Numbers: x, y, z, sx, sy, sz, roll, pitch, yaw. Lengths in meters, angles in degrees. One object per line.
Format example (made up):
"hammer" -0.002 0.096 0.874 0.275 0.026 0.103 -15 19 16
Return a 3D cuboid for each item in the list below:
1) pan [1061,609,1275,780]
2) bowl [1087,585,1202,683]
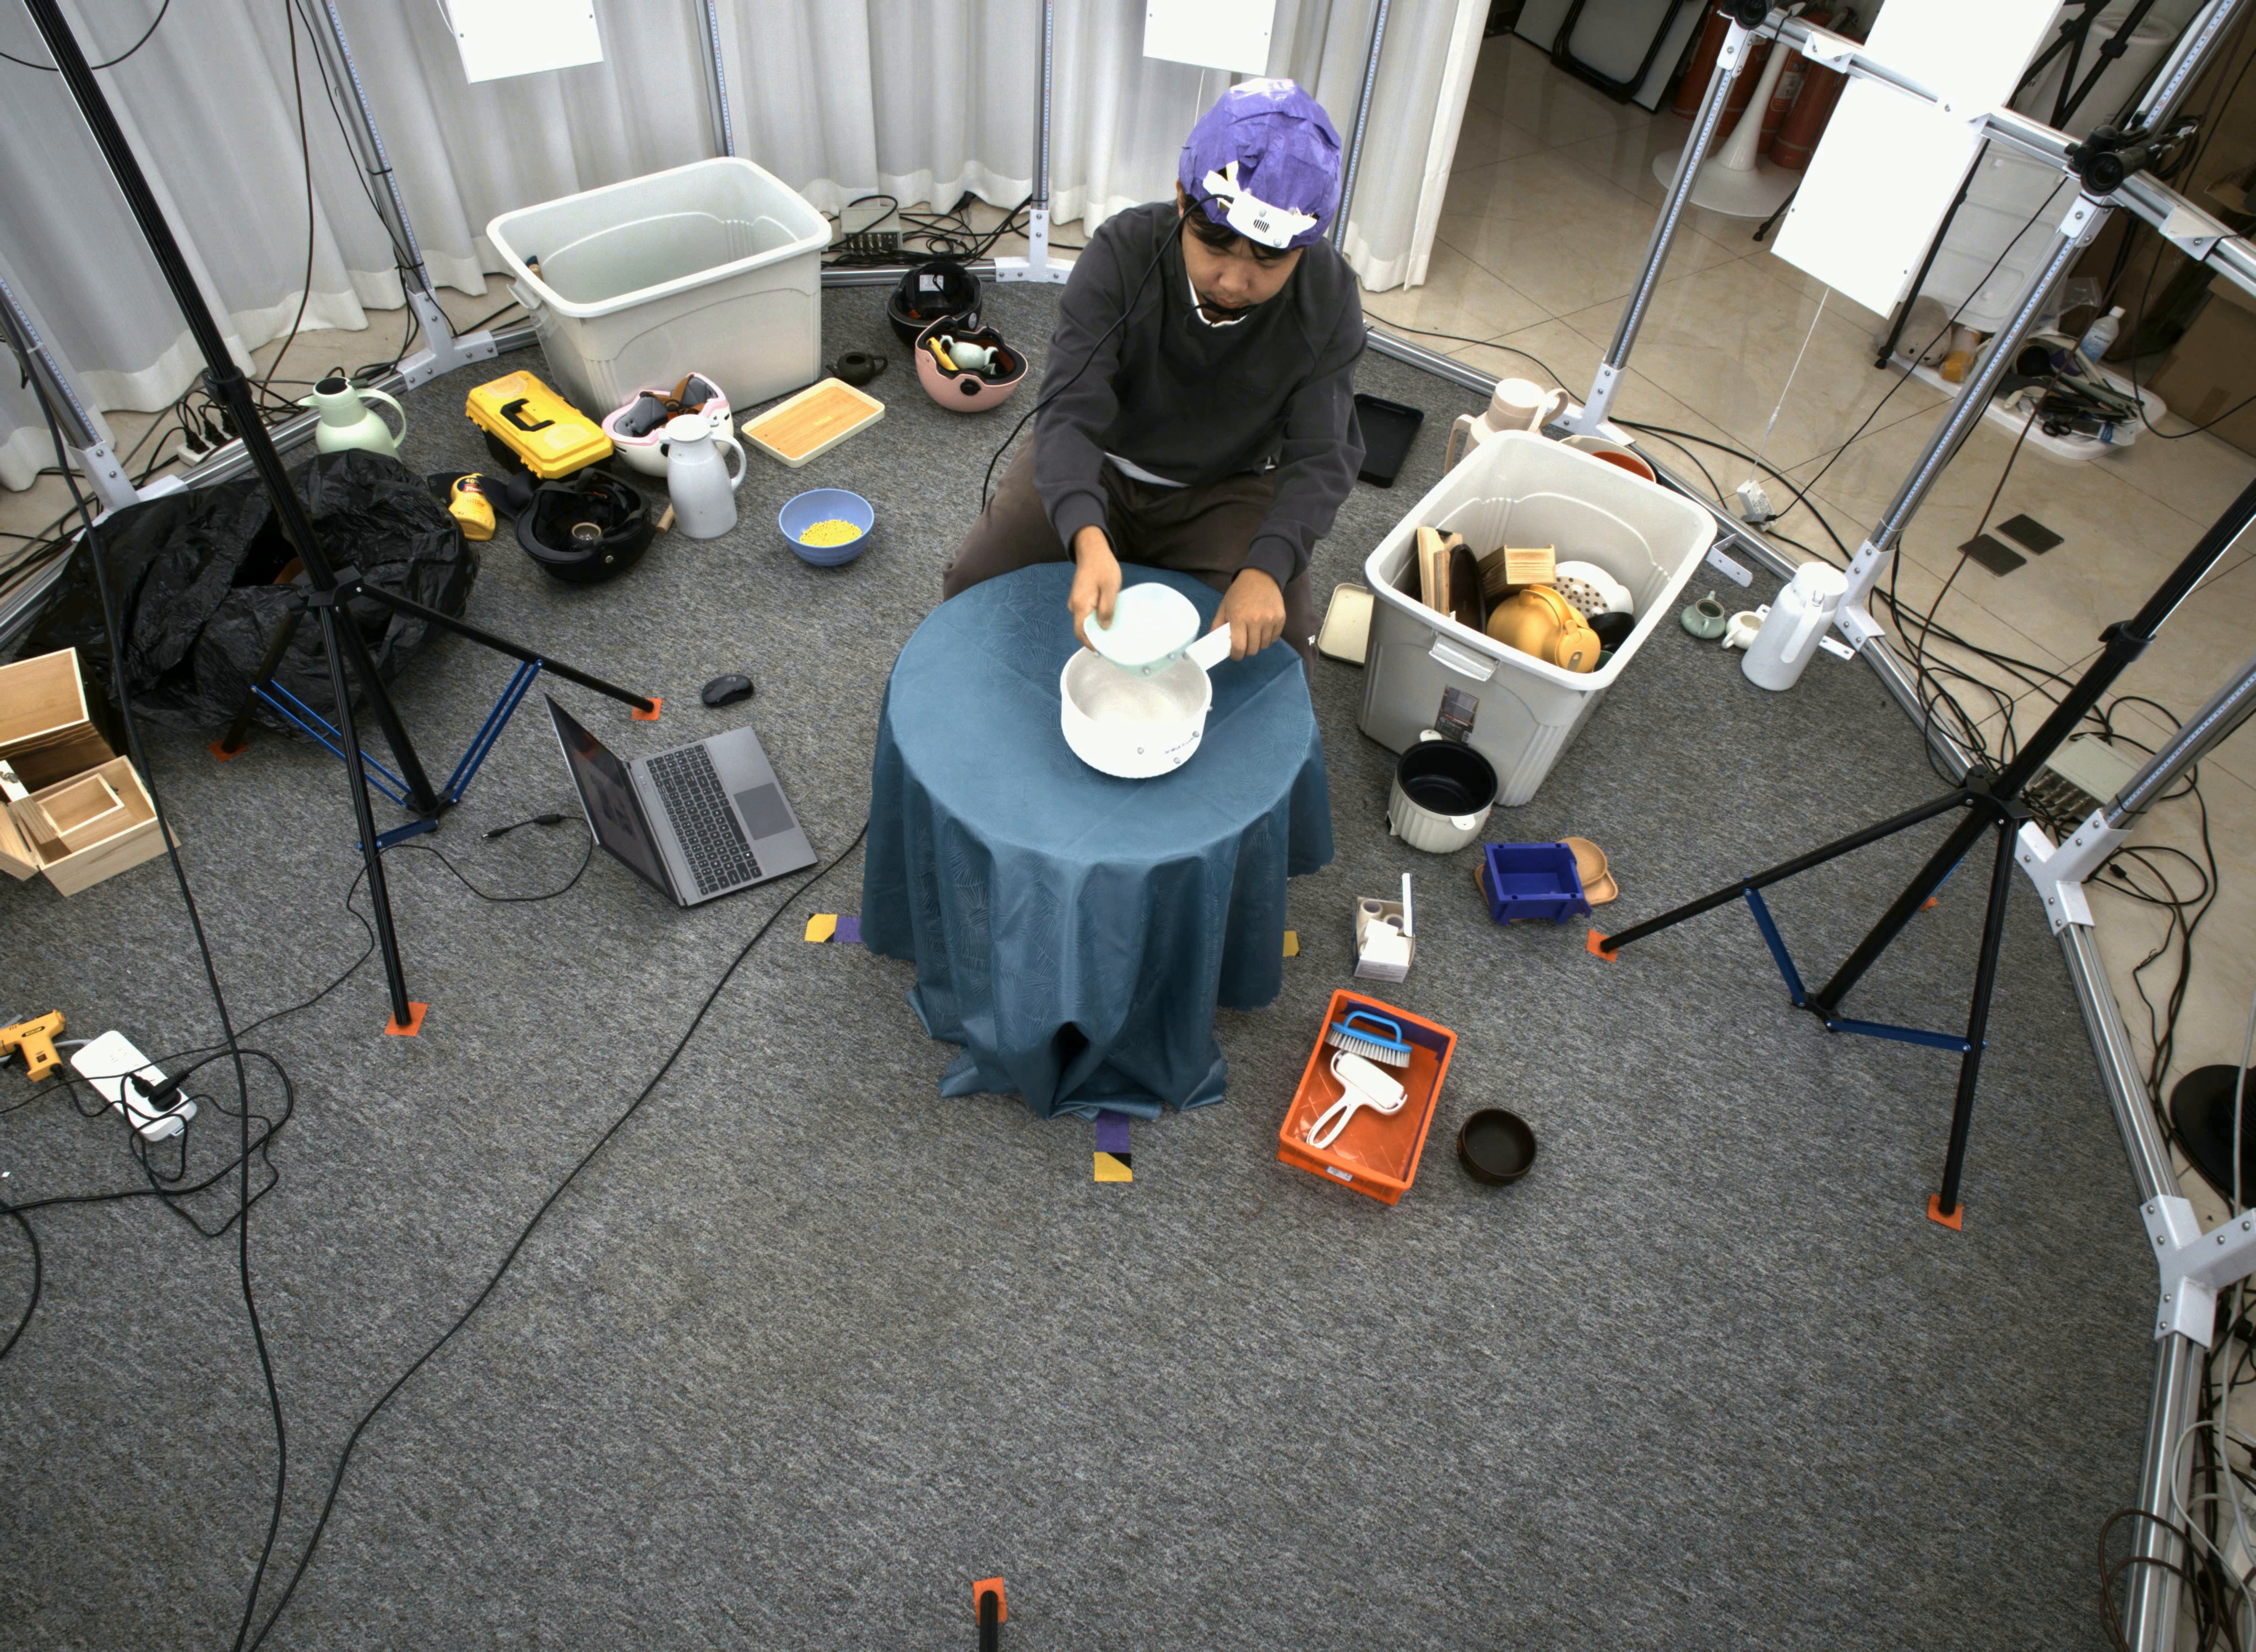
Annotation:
"pan" 0.064 -0.191 1.779 0.357 0.099 0.204 -32 56 -30
"bowl" 0.024 -0.242 1.672 0.151 0.057 0.155 -6 50 6
